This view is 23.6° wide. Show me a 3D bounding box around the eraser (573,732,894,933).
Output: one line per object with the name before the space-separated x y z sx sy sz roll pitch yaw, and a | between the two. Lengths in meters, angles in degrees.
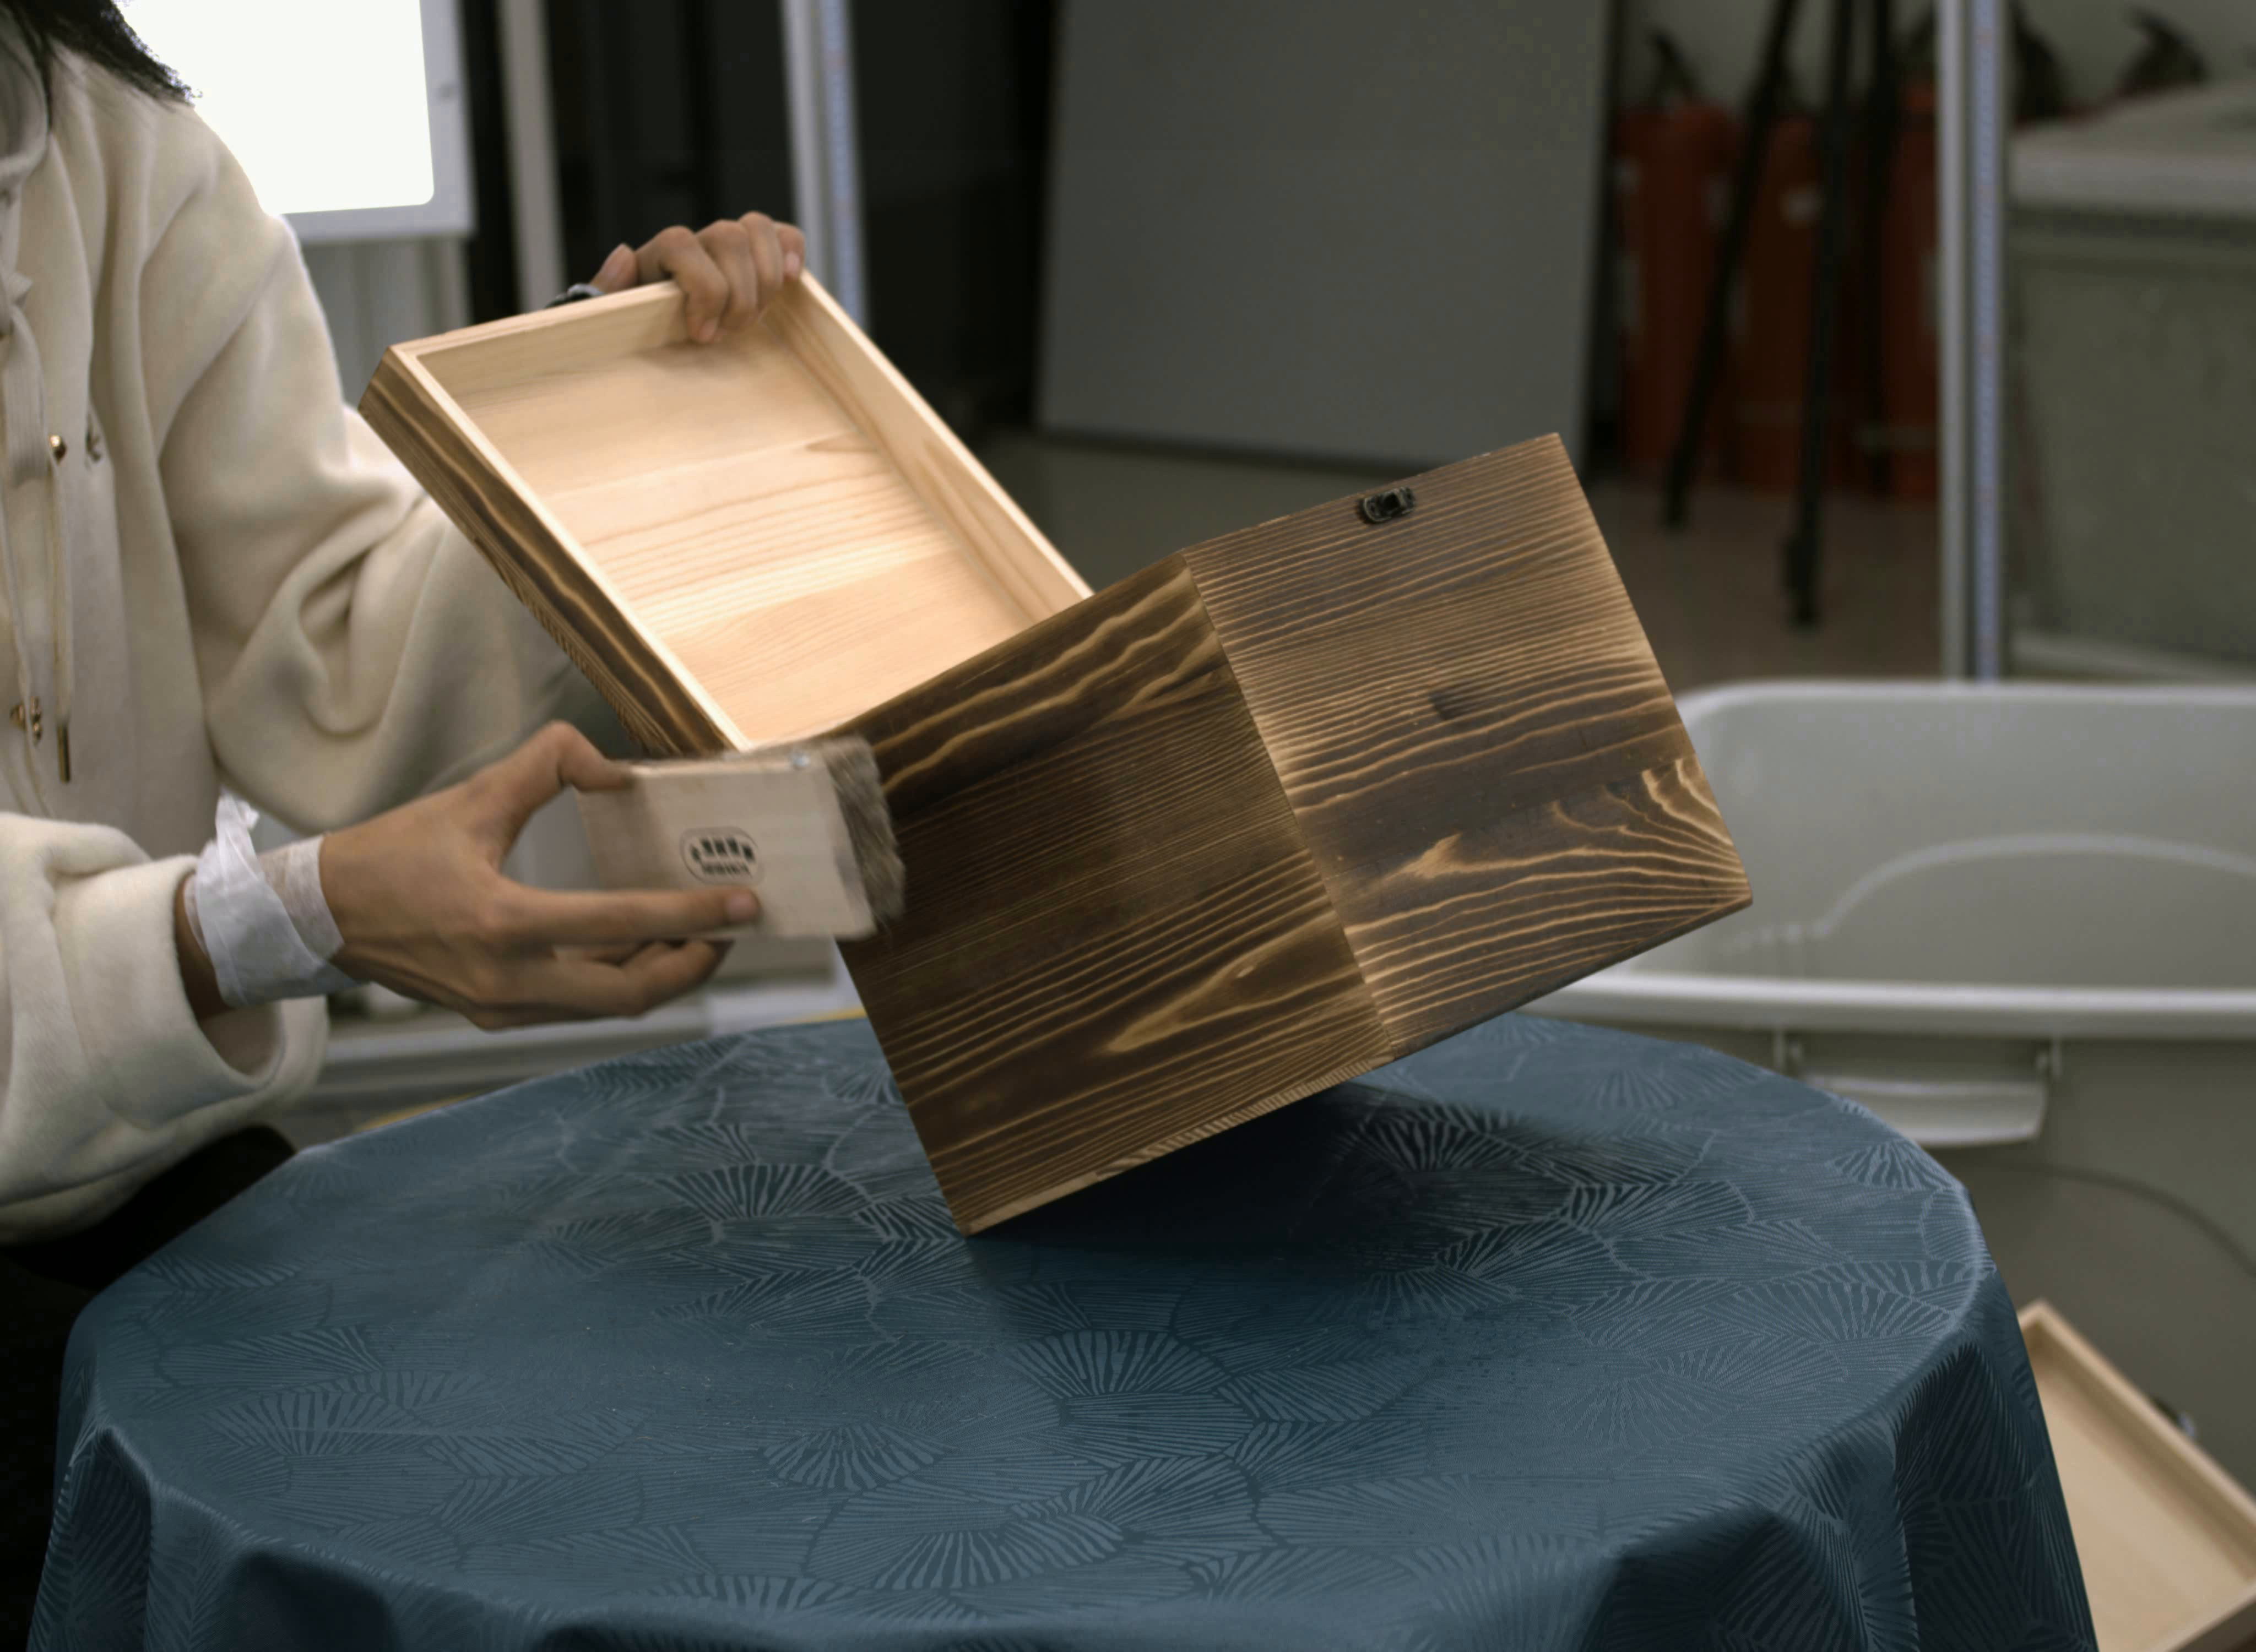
eraser | -0.123 0.002 1.710 0.028 0.057 0.141 -21 10 -33

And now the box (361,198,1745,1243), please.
box | -0.031 -0.073 1.784 0.325 0.379 0.205 -26 -4 42
